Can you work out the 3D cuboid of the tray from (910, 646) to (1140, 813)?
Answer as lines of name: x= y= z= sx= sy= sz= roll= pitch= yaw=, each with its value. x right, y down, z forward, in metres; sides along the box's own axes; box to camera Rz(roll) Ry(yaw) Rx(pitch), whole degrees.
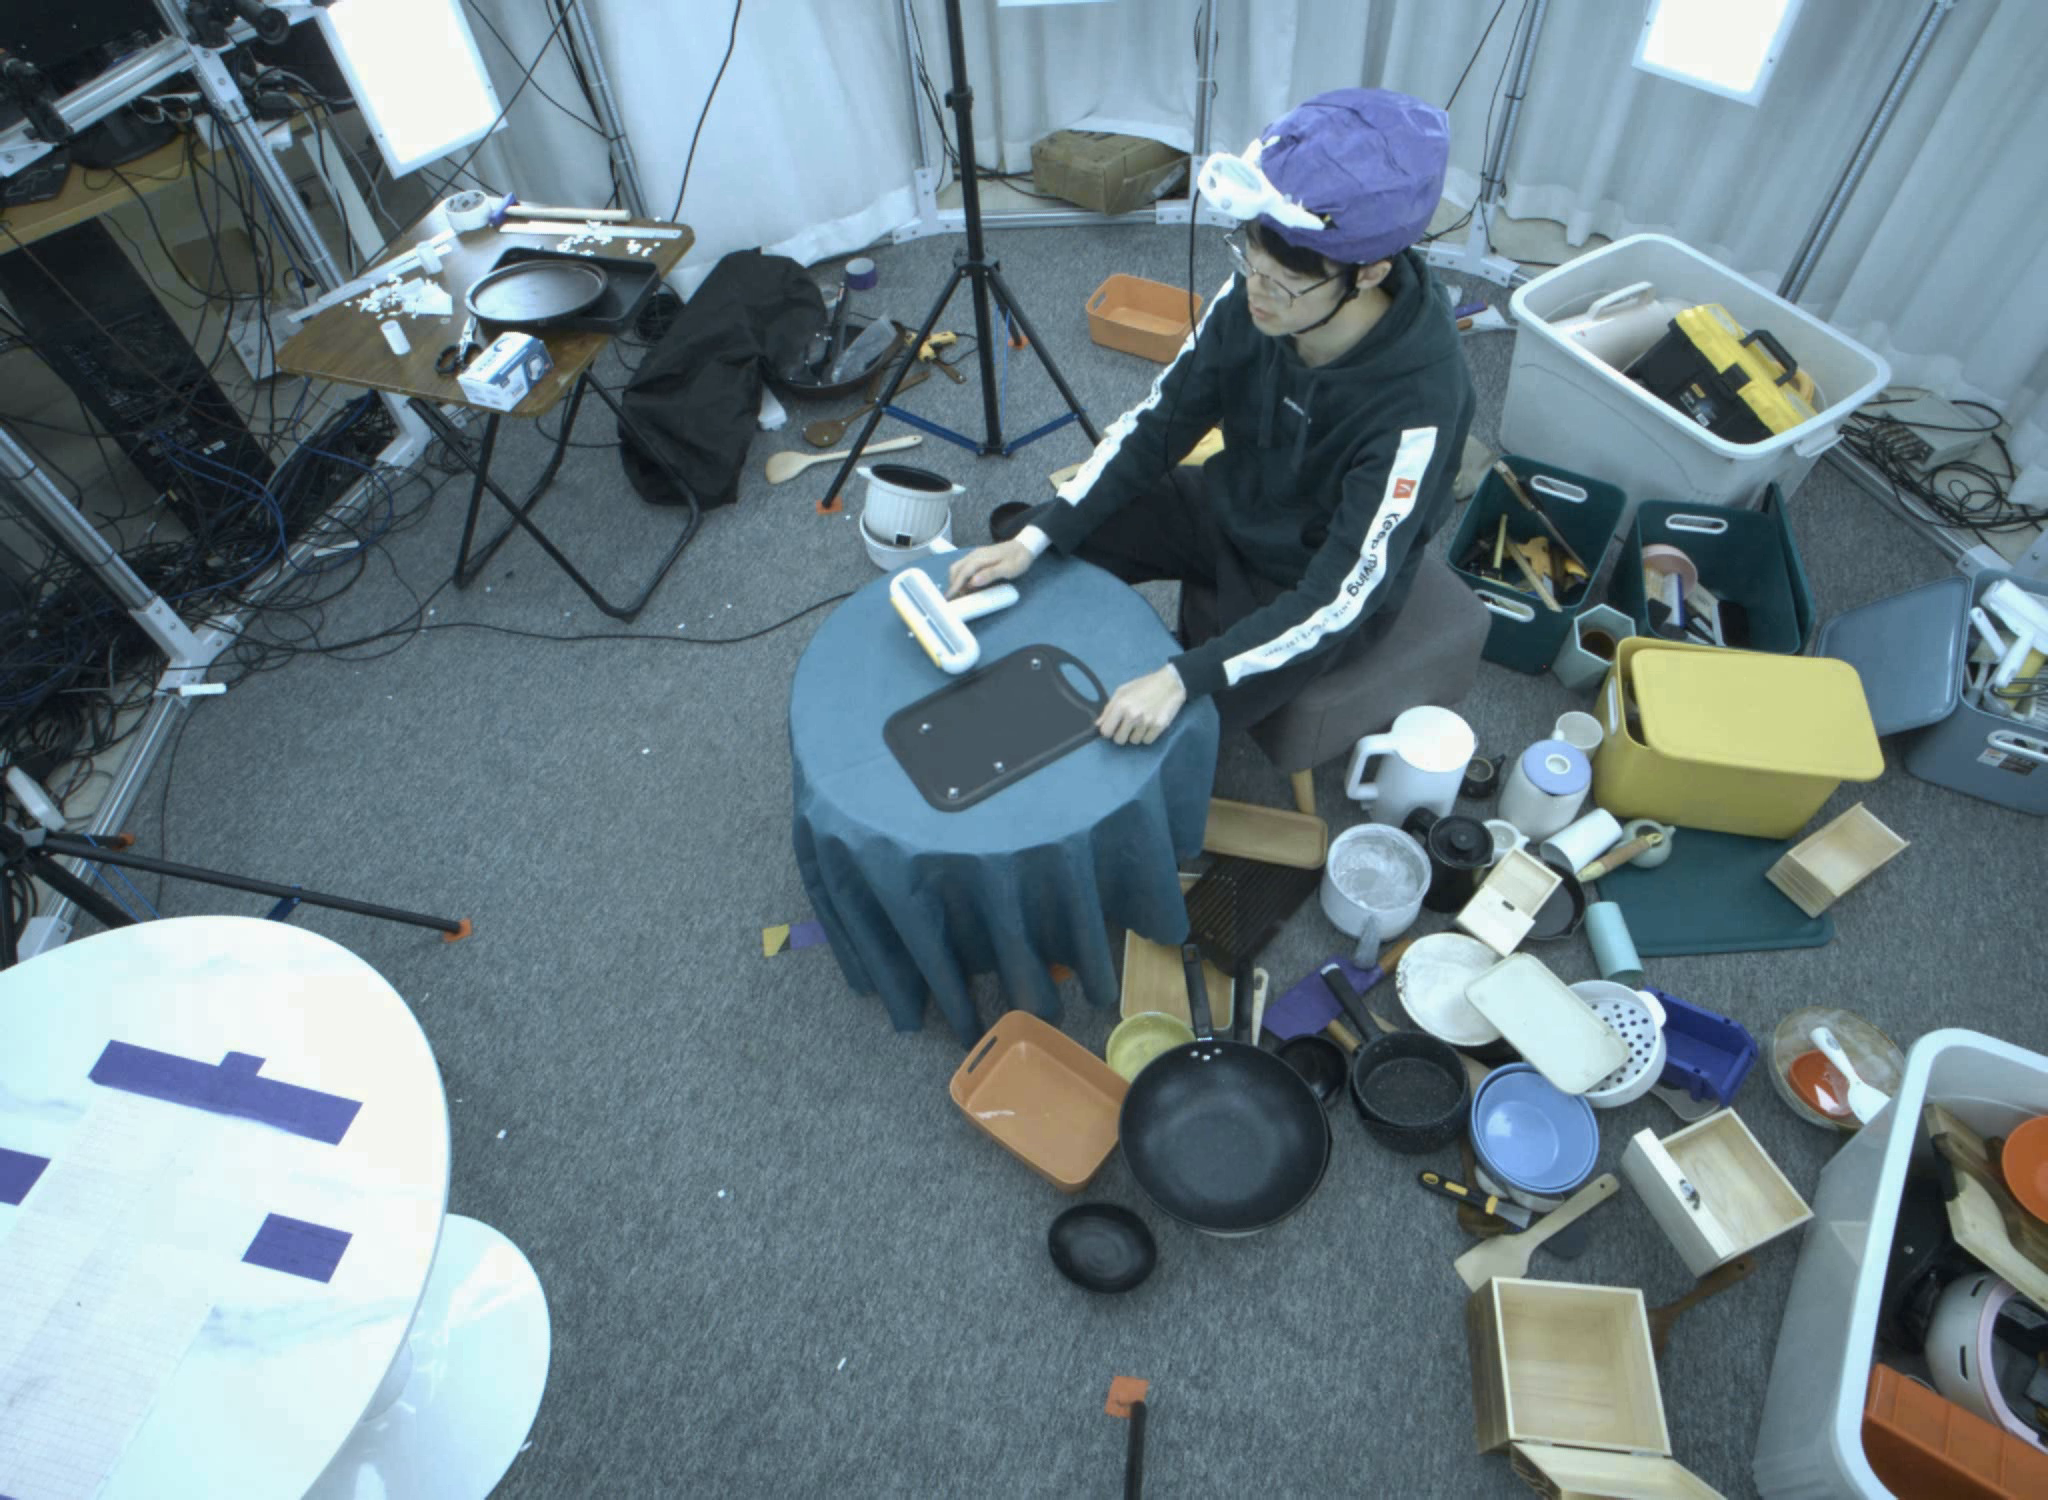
tray: x=0.007 y=-0.041 z=1.808 sx=0.328 sy=0.010 sz=0.207 roll=-26 pitch=58 yaw=-16

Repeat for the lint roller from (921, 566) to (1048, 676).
lint roller: x=-0.046 y=-0.208 z=1.913 sx=0.195 sy=0.074 sz=0.190 roll=-16 pitch=61 yaw=-26
